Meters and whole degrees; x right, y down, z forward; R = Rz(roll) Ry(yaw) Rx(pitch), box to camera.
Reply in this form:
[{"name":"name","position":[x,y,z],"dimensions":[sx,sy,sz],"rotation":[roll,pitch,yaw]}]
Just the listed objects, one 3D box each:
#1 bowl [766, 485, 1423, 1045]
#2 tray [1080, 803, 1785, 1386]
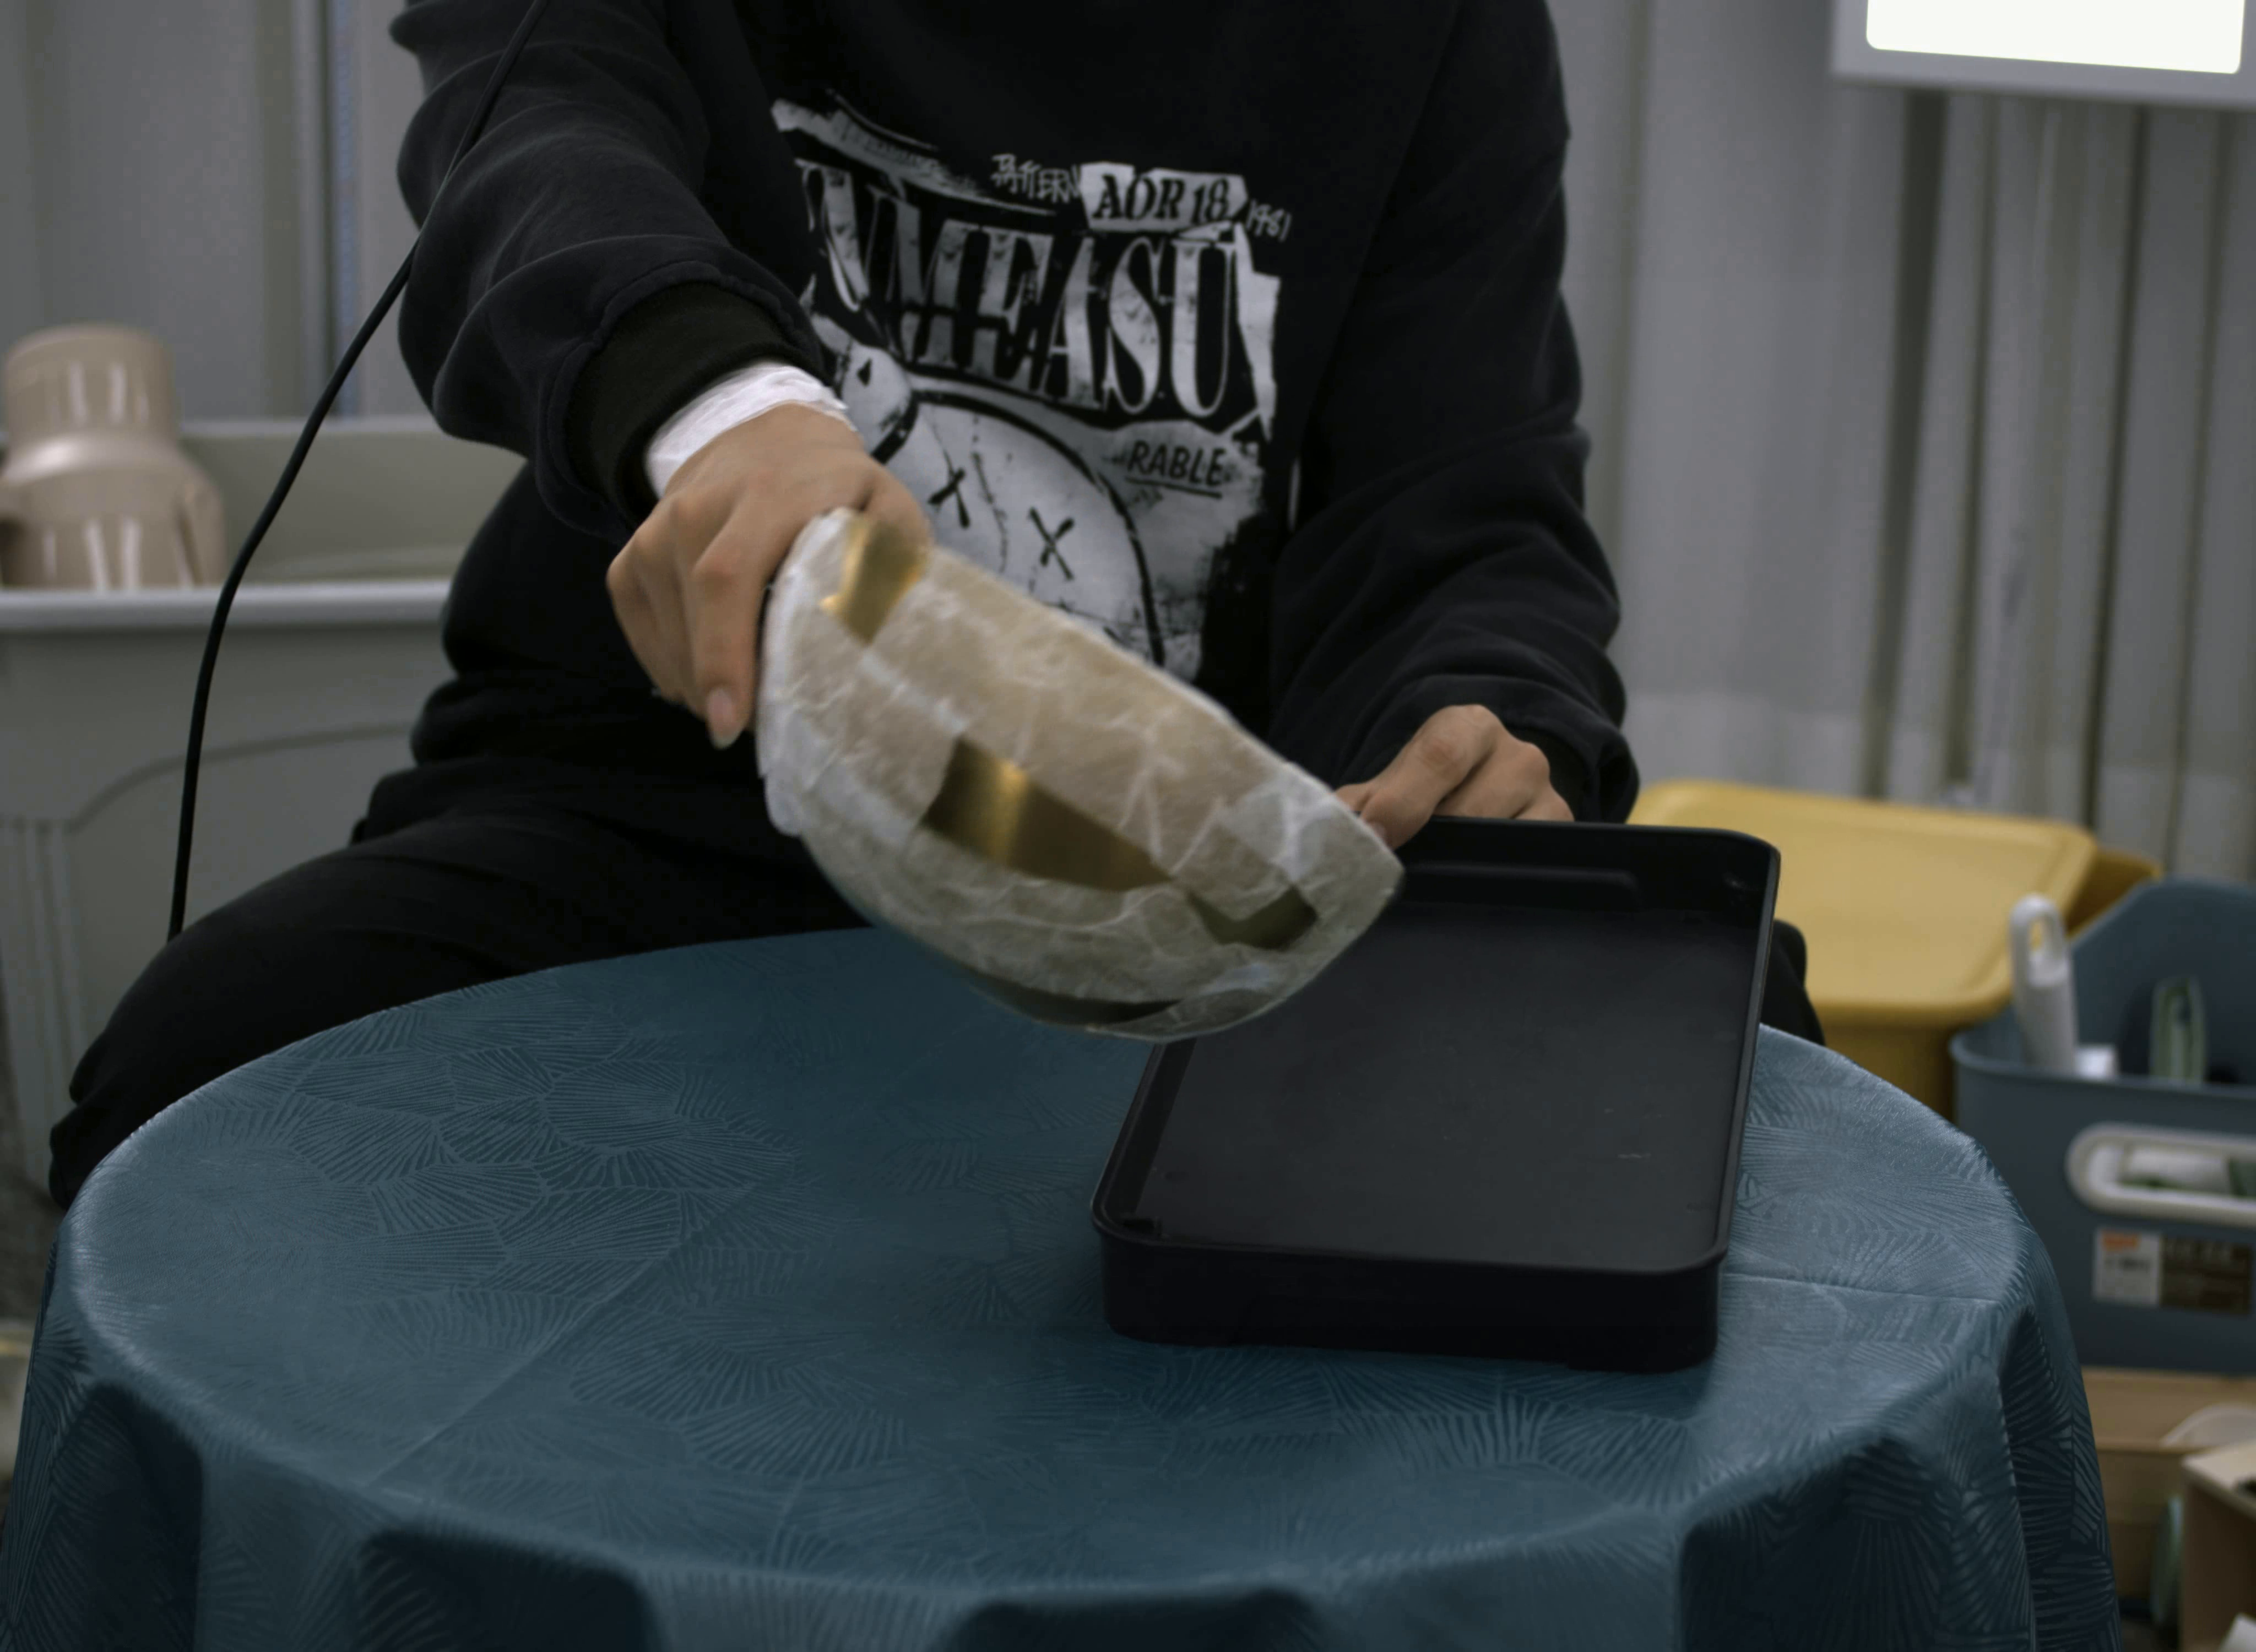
[{"name":"bowl","position":[-0.026,0.001,1.493],"dimensions":[0.214,0.094,0.215],"rotation":[32,-7,5]},{"name":"tray","position":[0.101,0.075,1.626],"dimensions":[0.183,0.037,0.316],"rotation":[4,25,9]}]
